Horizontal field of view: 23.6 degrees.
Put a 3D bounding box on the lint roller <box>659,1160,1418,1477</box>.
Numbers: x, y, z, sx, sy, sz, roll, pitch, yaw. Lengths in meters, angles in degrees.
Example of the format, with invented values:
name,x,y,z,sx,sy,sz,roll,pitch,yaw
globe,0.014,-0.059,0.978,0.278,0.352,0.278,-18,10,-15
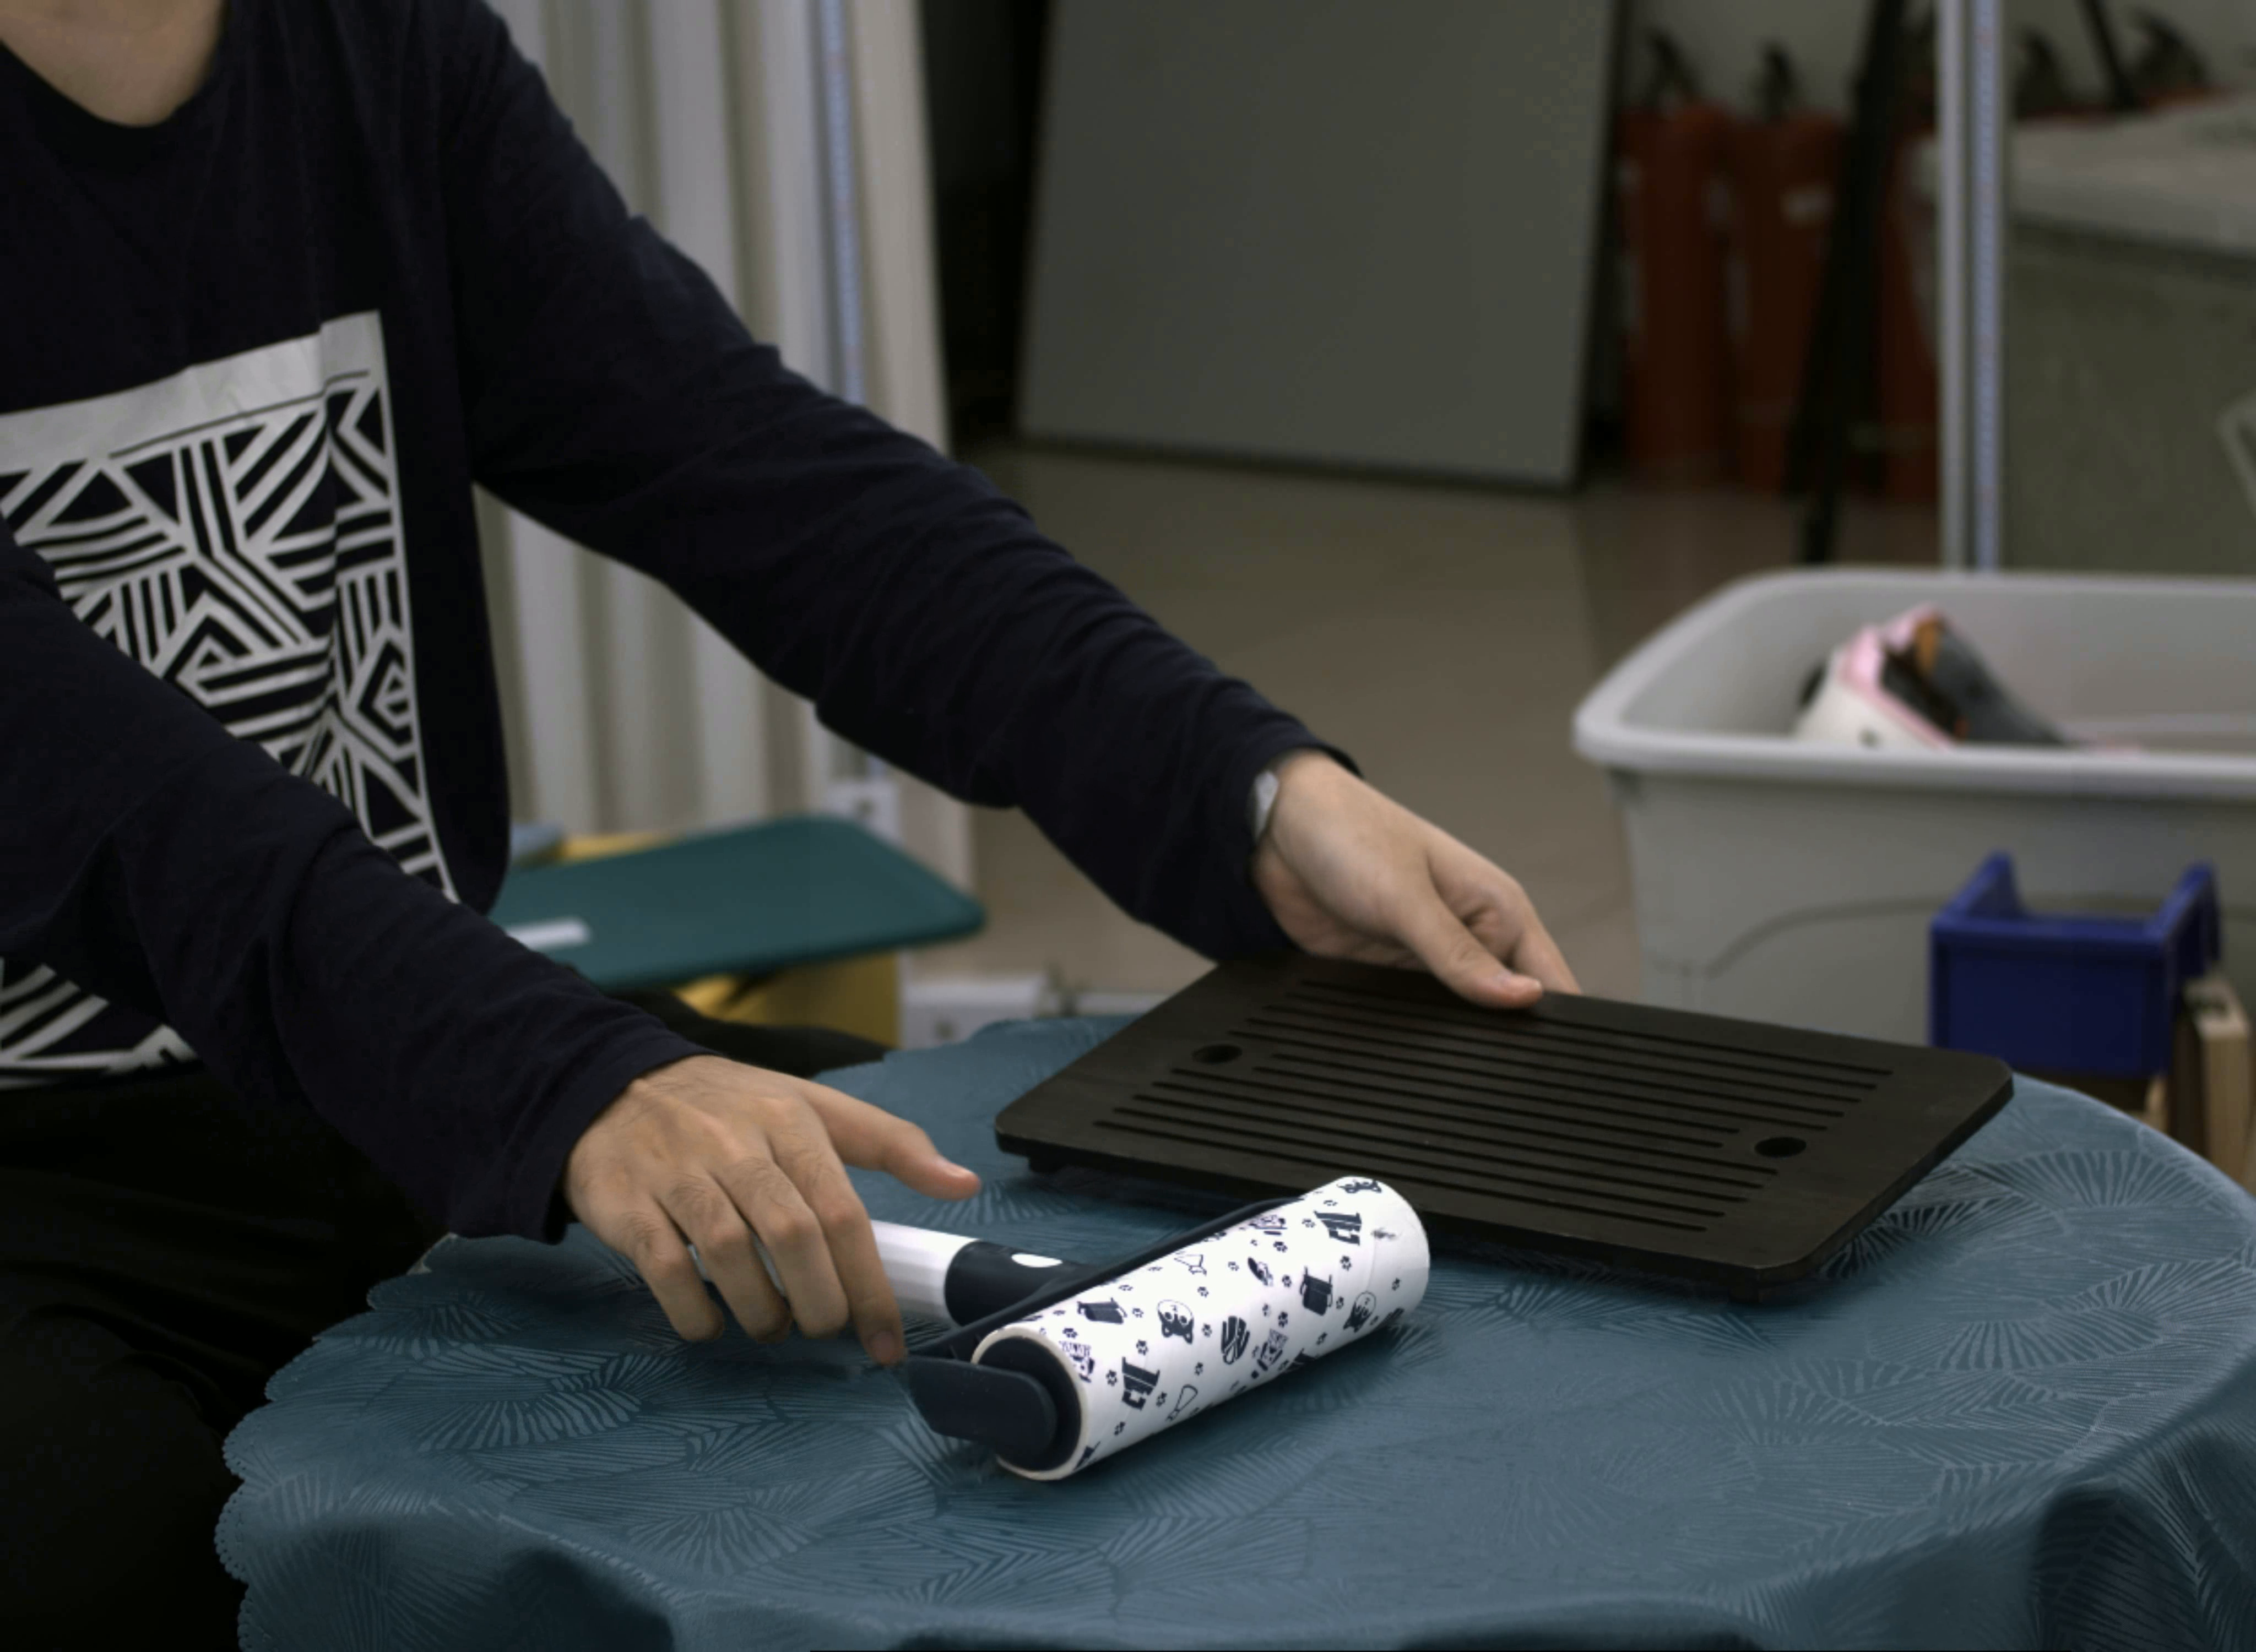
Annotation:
name,x,y,z,sx,sy,sz,roll,pitch,yaw
lint roller,-0.055,0.138,1.637,0.249,0.051,0.173,4,16,41

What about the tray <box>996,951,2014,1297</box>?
name,x,y,z,sx,sy,sz,roll,pitch,yaw
tray,0.121,0.094,1.759,0.308,0.019,0.167,6,25,36
